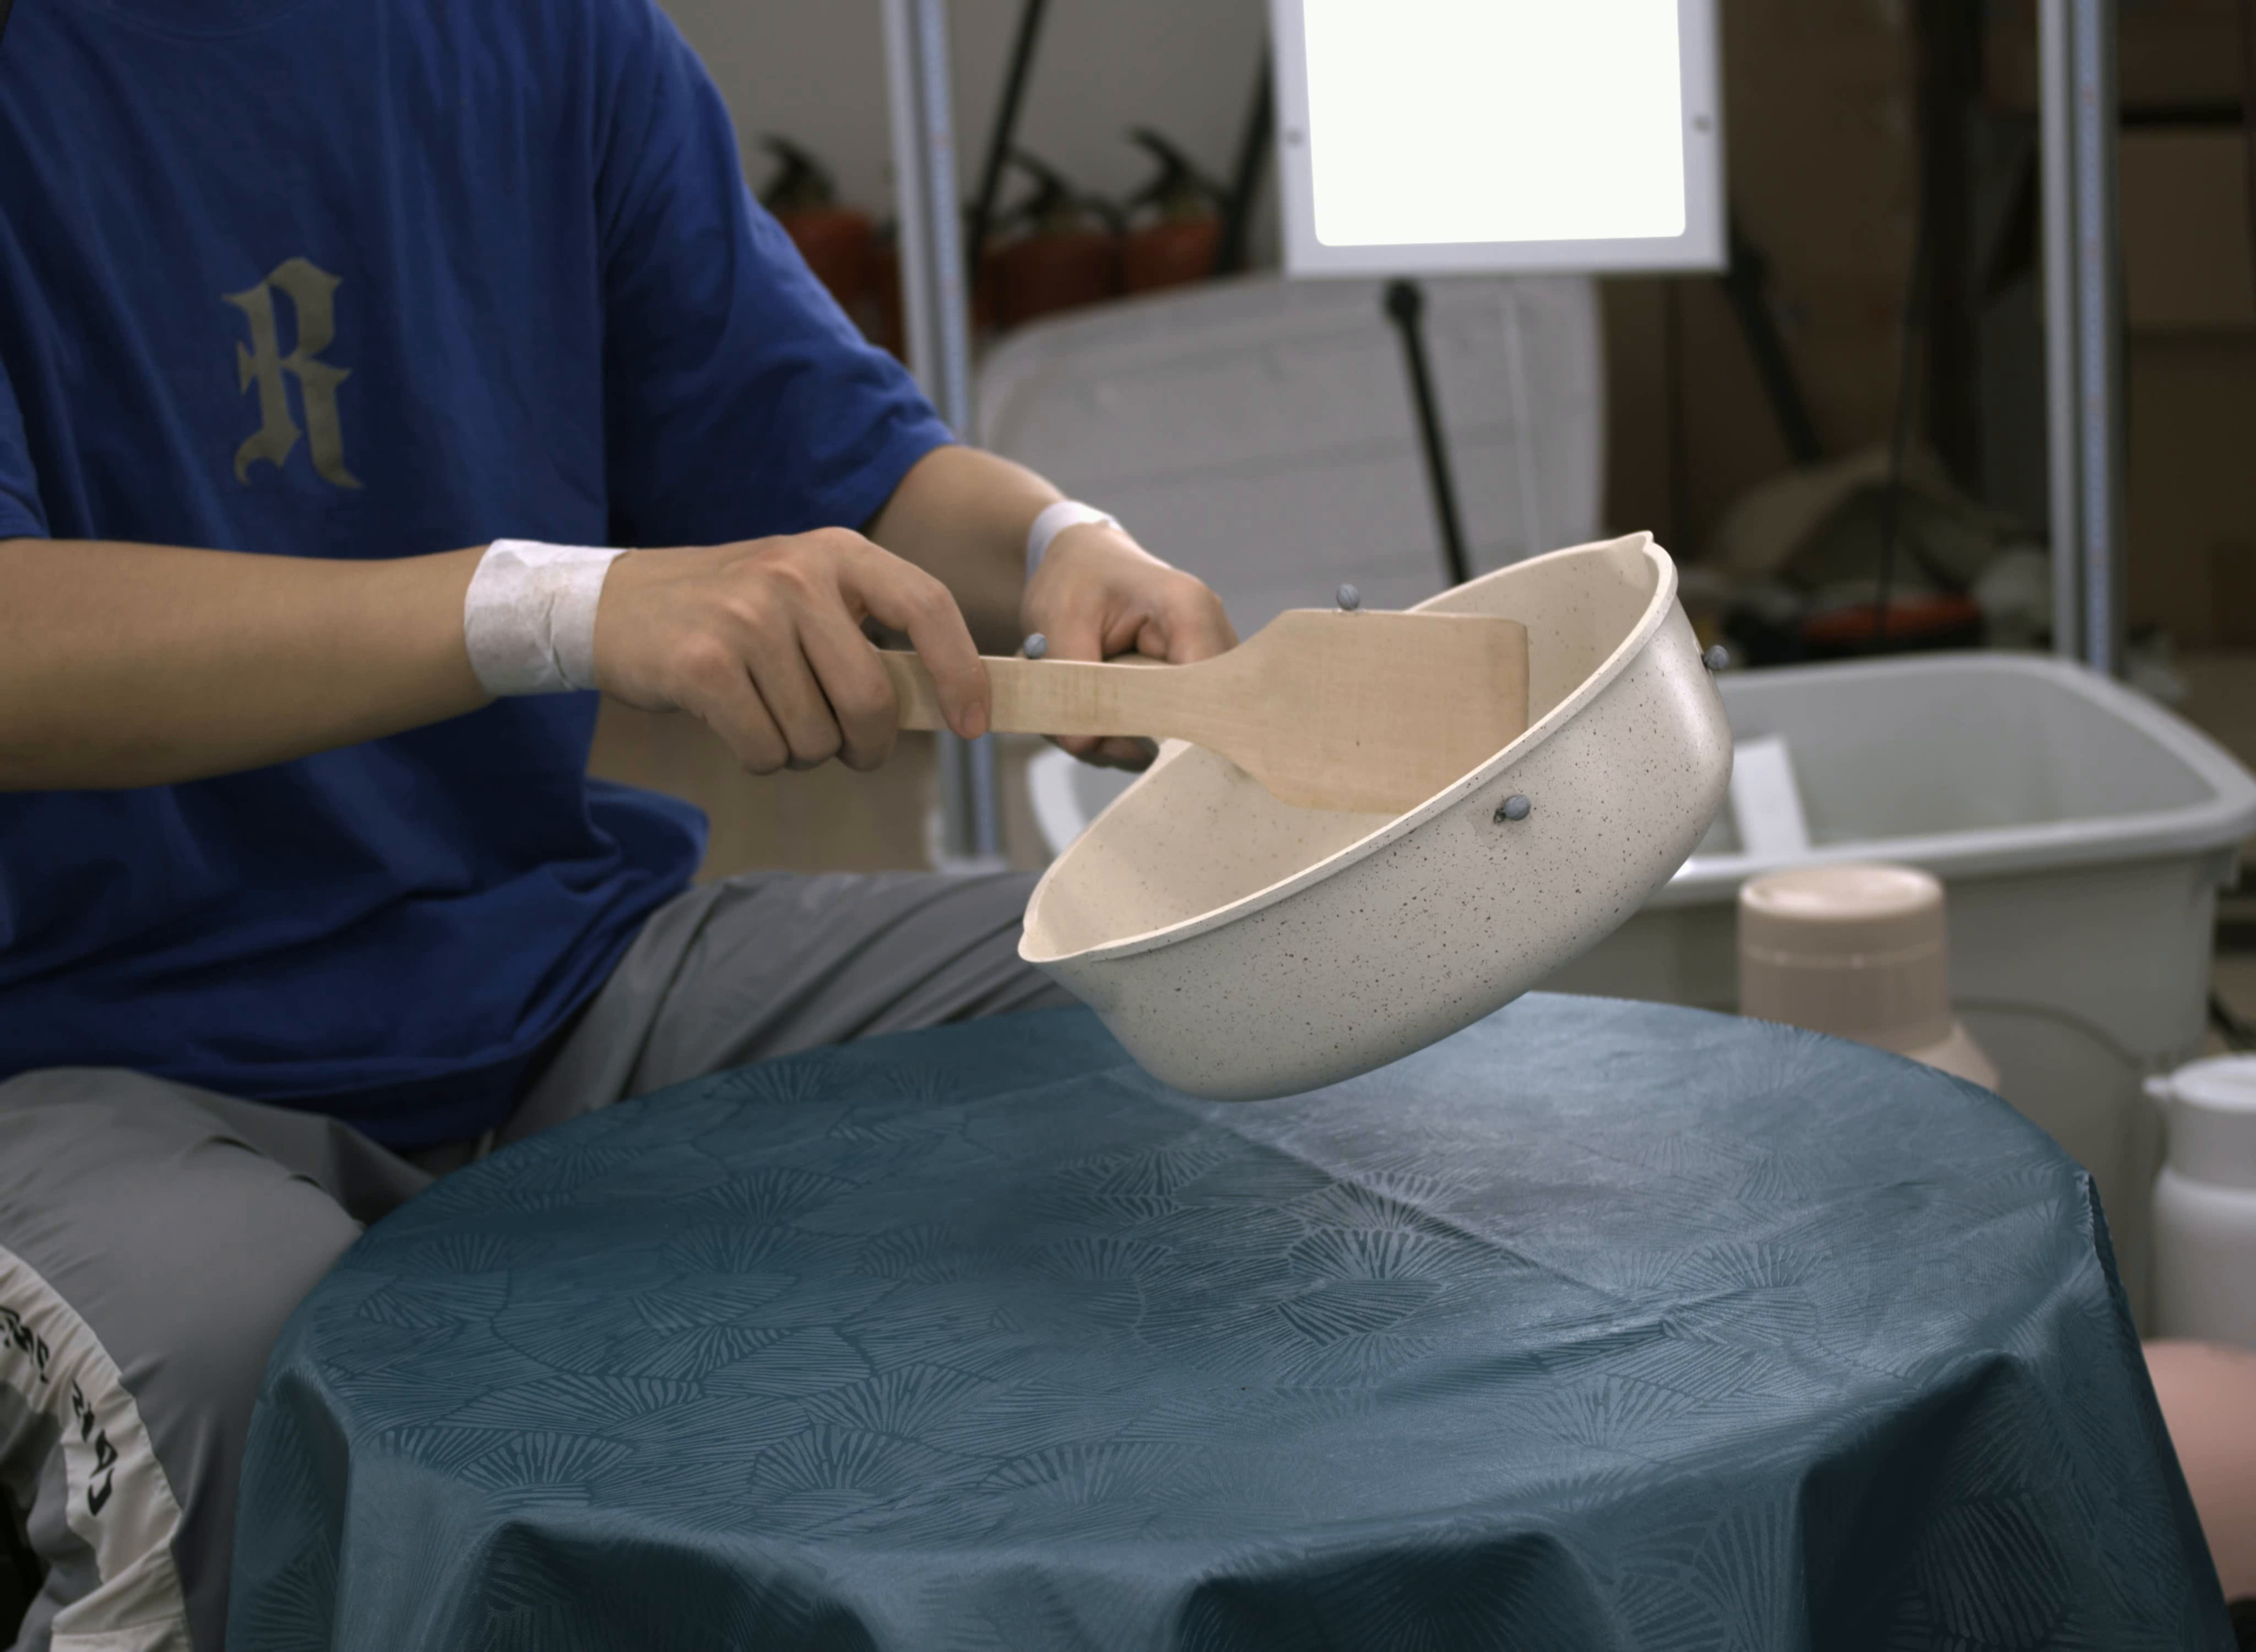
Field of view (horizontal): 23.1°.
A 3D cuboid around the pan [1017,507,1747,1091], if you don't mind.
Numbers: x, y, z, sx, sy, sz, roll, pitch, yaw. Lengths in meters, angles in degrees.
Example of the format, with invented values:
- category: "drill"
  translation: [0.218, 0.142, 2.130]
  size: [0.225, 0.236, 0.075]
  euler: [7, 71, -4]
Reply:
- category: "pan"
  translation: [0.062, -0.013, 1.937]
  size: [0.260, 0.101, 0.441]
  euler: [-37, 14, -13]

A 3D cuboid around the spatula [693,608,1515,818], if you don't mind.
- category: "spatula"
  translation: [-0.011, -0.044, 1.888]
  size: [0.296, 0.072, 0.010]
  euler: [3, 10, 17]
